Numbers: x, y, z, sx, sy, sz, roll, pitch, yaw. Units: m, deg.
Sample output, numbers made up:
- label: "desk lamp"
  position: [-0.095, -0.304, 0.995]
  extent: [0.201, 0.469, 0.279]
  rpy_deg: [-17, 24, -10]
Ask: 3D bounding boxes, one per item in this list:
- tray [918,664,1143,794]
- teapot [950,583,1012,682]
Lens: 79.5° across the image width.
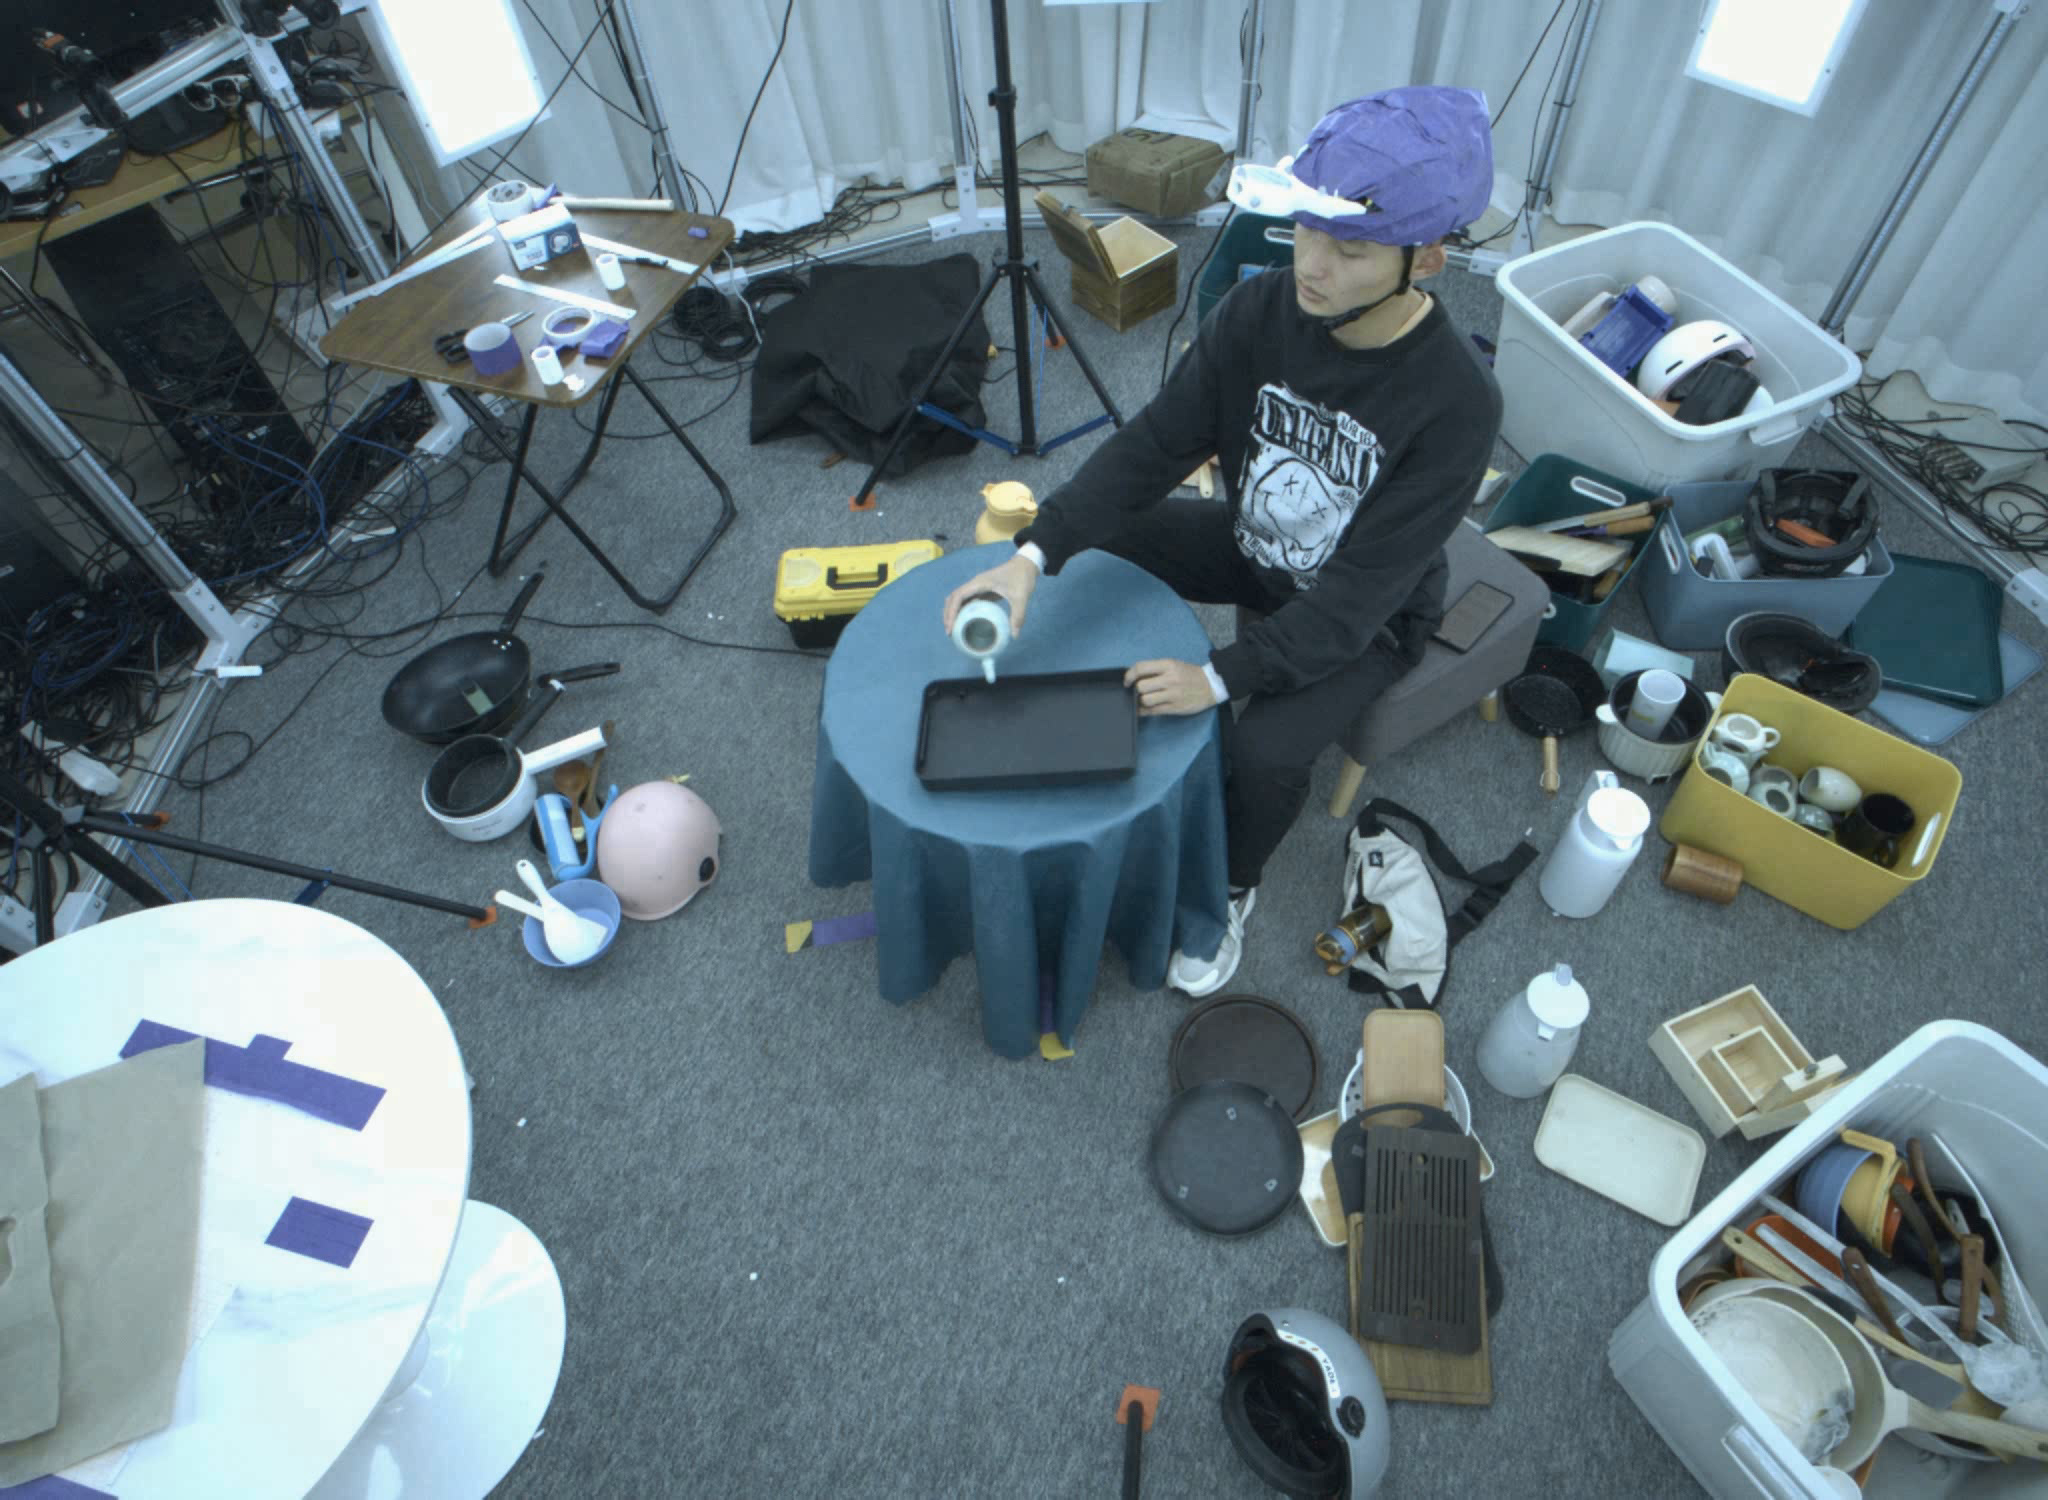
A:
- label: "tray"
  position: [0.010, -0.031, 1.763]
  extent: [0.317, 0.037, 0.182]
  rpy_deg: [-5, 53, 6]
- label: "teapot"
  position: [-0.062, -0.174, 1.770]
  extent: [0.088, 0.145, 0.074]
  rpy_deg: [-10, 23, 6]
